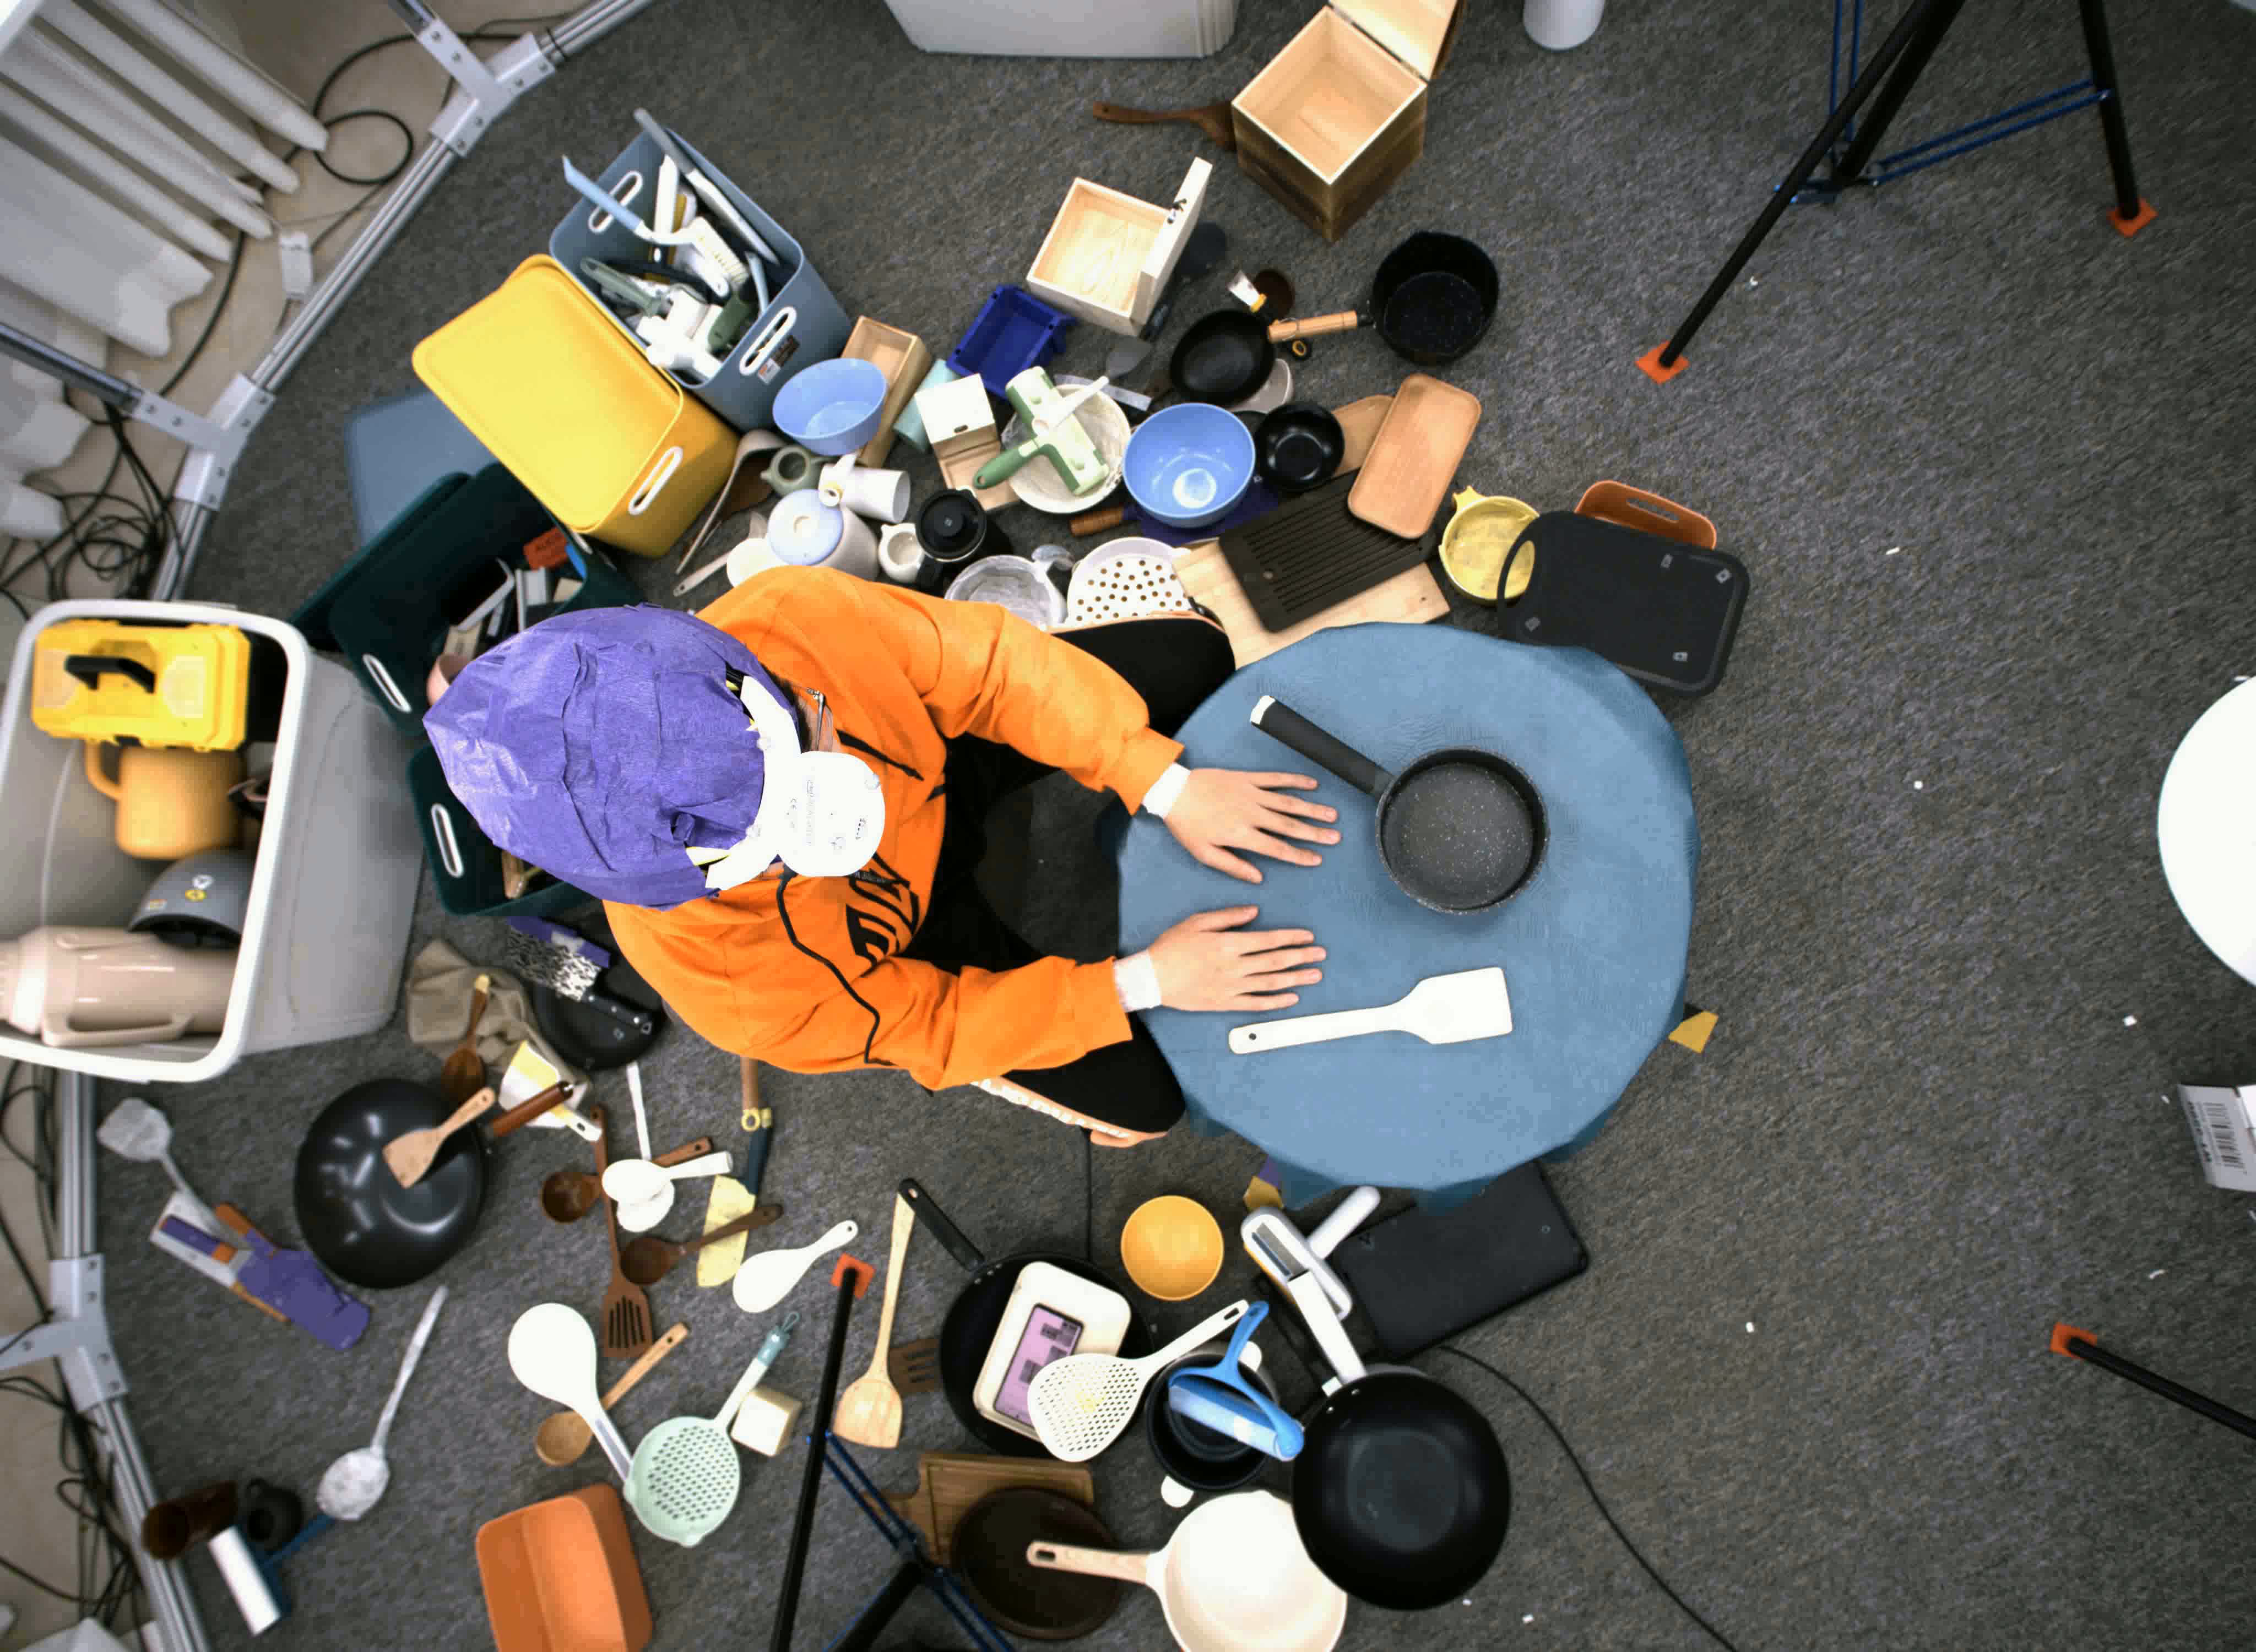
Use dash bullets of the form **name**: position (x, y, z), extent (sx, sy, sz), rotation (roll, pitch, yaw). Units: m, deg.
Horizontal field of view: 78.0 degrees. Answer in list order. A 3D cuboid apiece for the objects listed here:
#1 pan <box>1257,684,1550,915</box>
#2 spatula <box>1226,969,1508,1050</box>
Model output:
- **pan**: position (0.275, -0.039, 1.422), extent (0.328, 0.086, 0.172), rotation (35, 92, 9)
- **spatula**: position (0.247, 0.203, 1.452), extent (0.294, 0.010, 0.072), rotation (-9, 89, 10)
